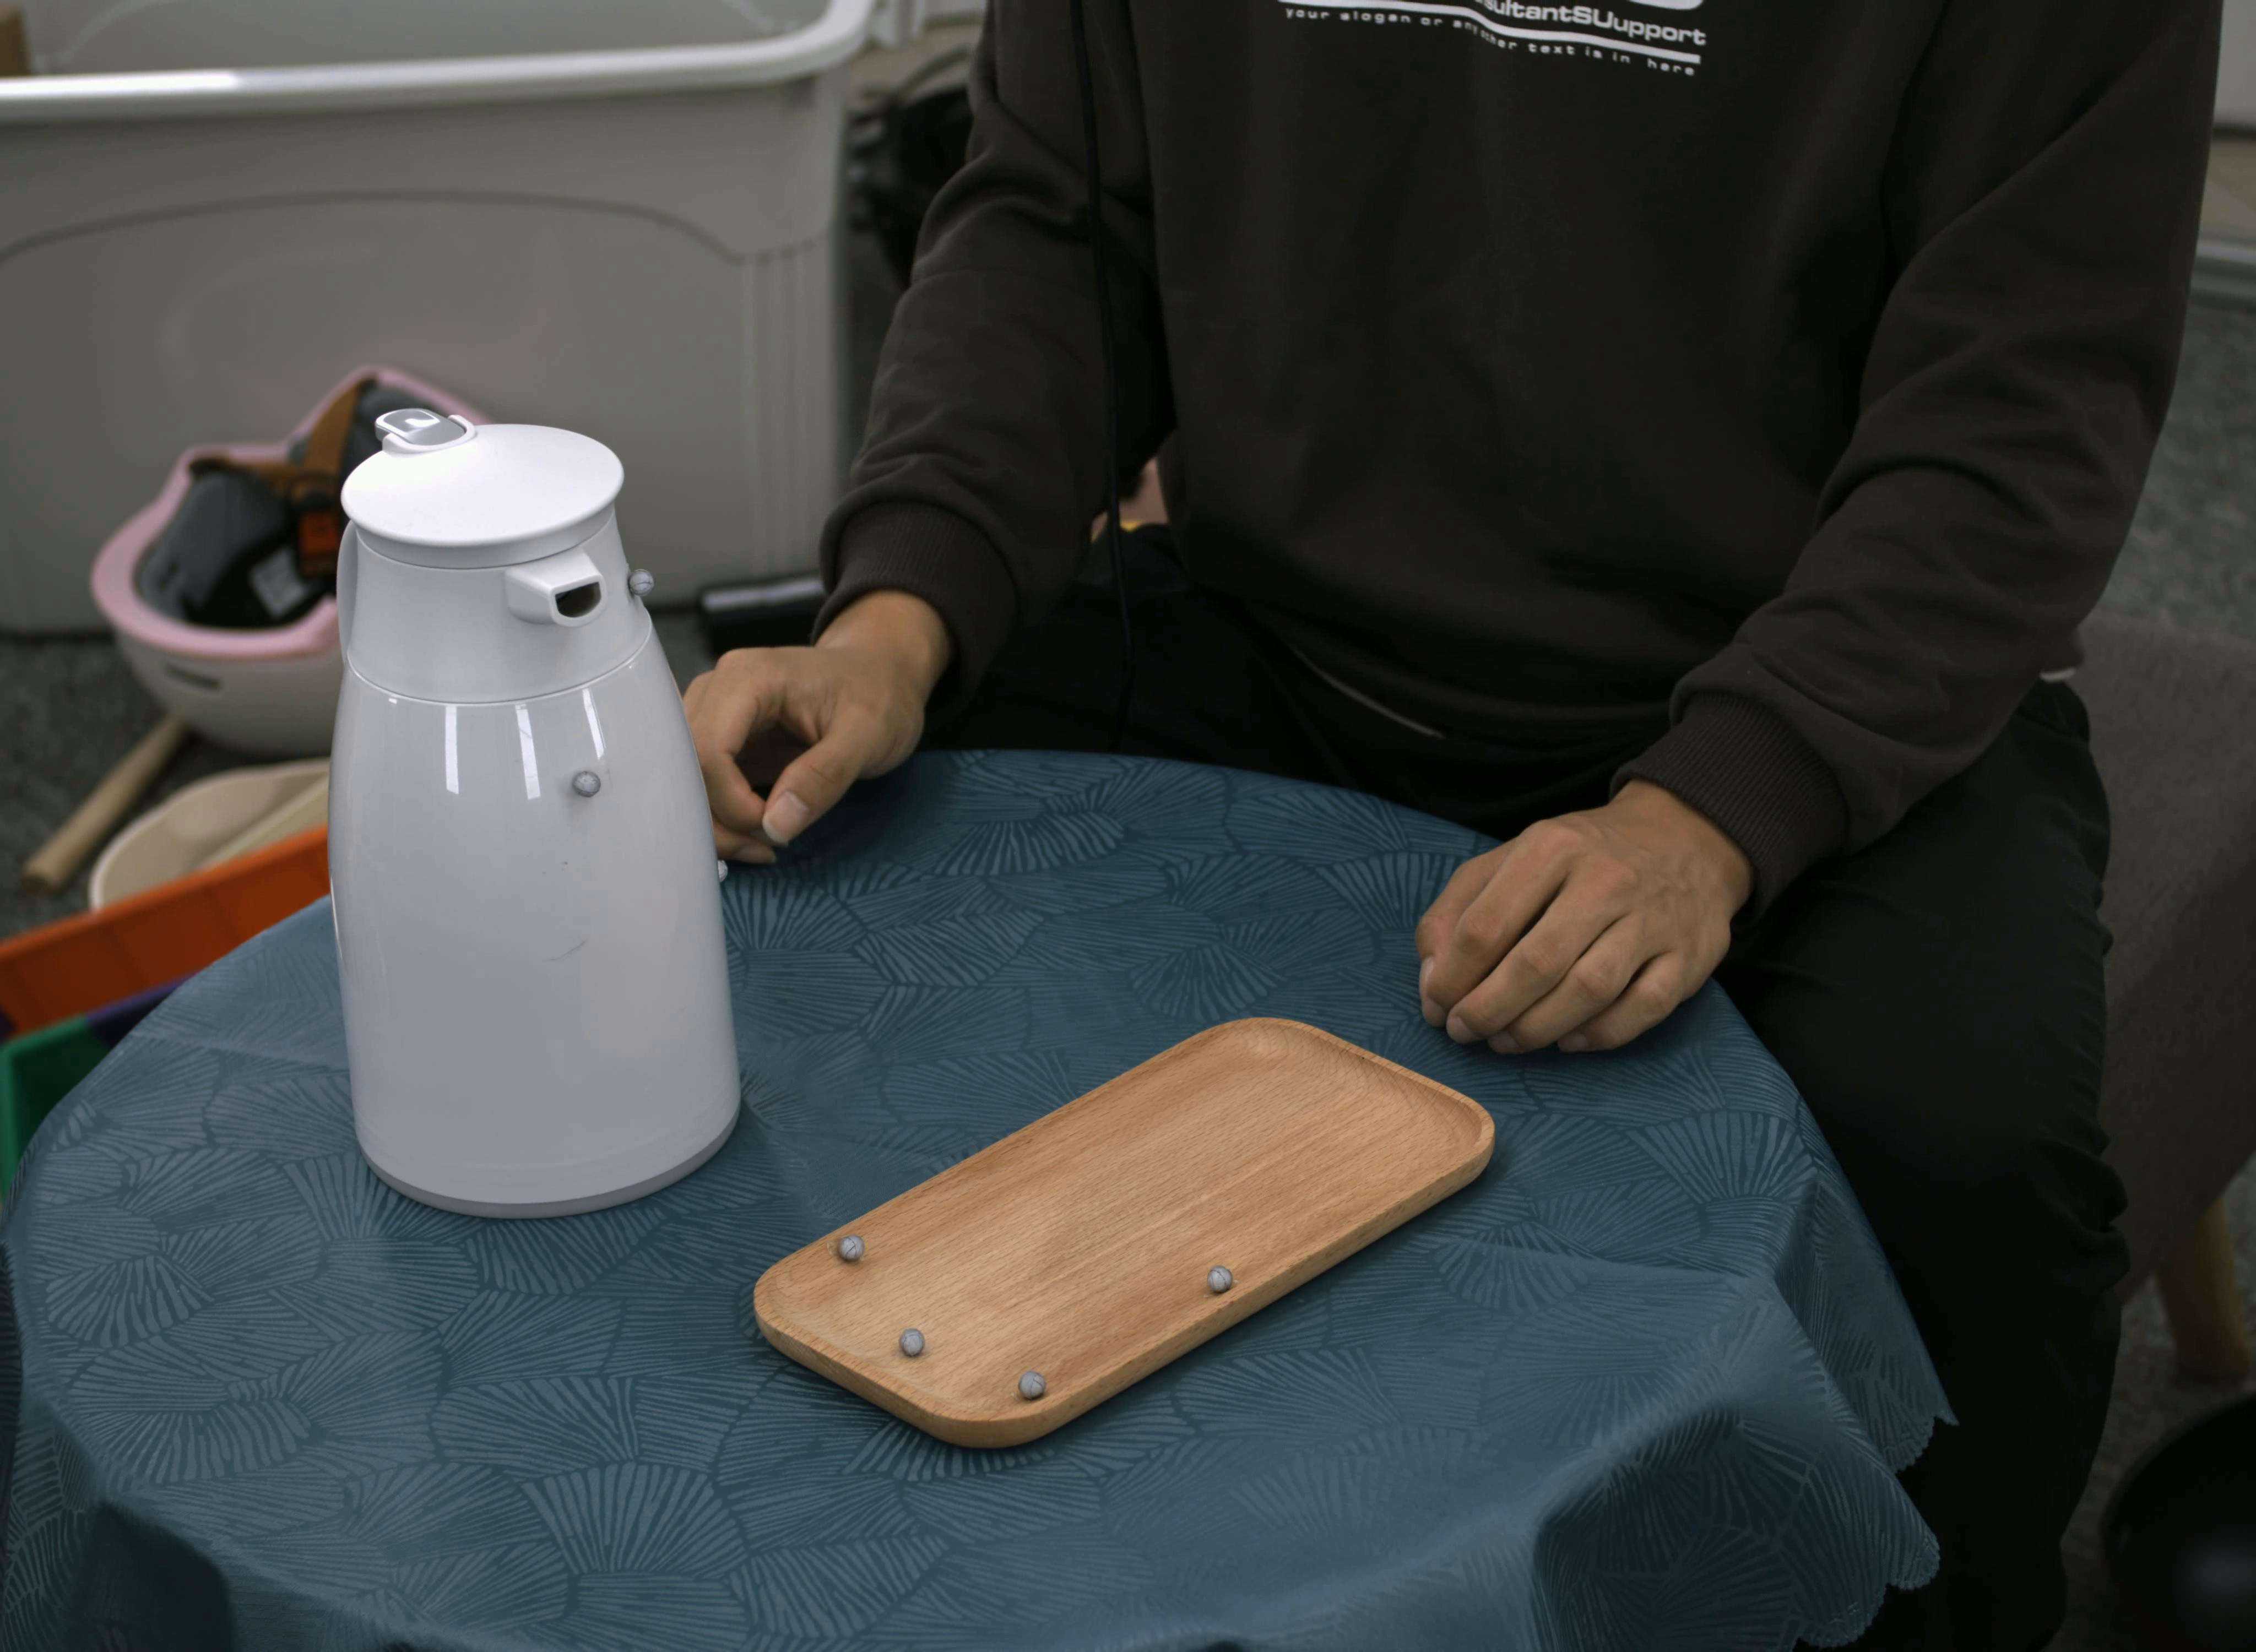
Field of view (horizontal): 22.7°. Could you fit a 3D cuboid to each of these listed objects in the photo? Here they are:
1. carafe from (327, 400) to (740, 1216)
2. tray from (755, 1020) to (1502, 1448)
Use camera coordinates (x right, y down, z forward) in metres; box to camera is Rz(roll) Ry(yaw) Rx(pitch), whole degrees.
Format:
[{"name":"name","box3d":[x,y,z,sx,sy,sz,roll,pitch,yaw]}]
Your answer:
[{"name":"carafe","box3d":[-0.215,-0.016,1.880,0.133,0.246,0.168,-20,31,-30]},{"name":"tray","box3d":[0.002,0.131,1.830,0.253,0.022,0.130,-25,37,-38]}]
